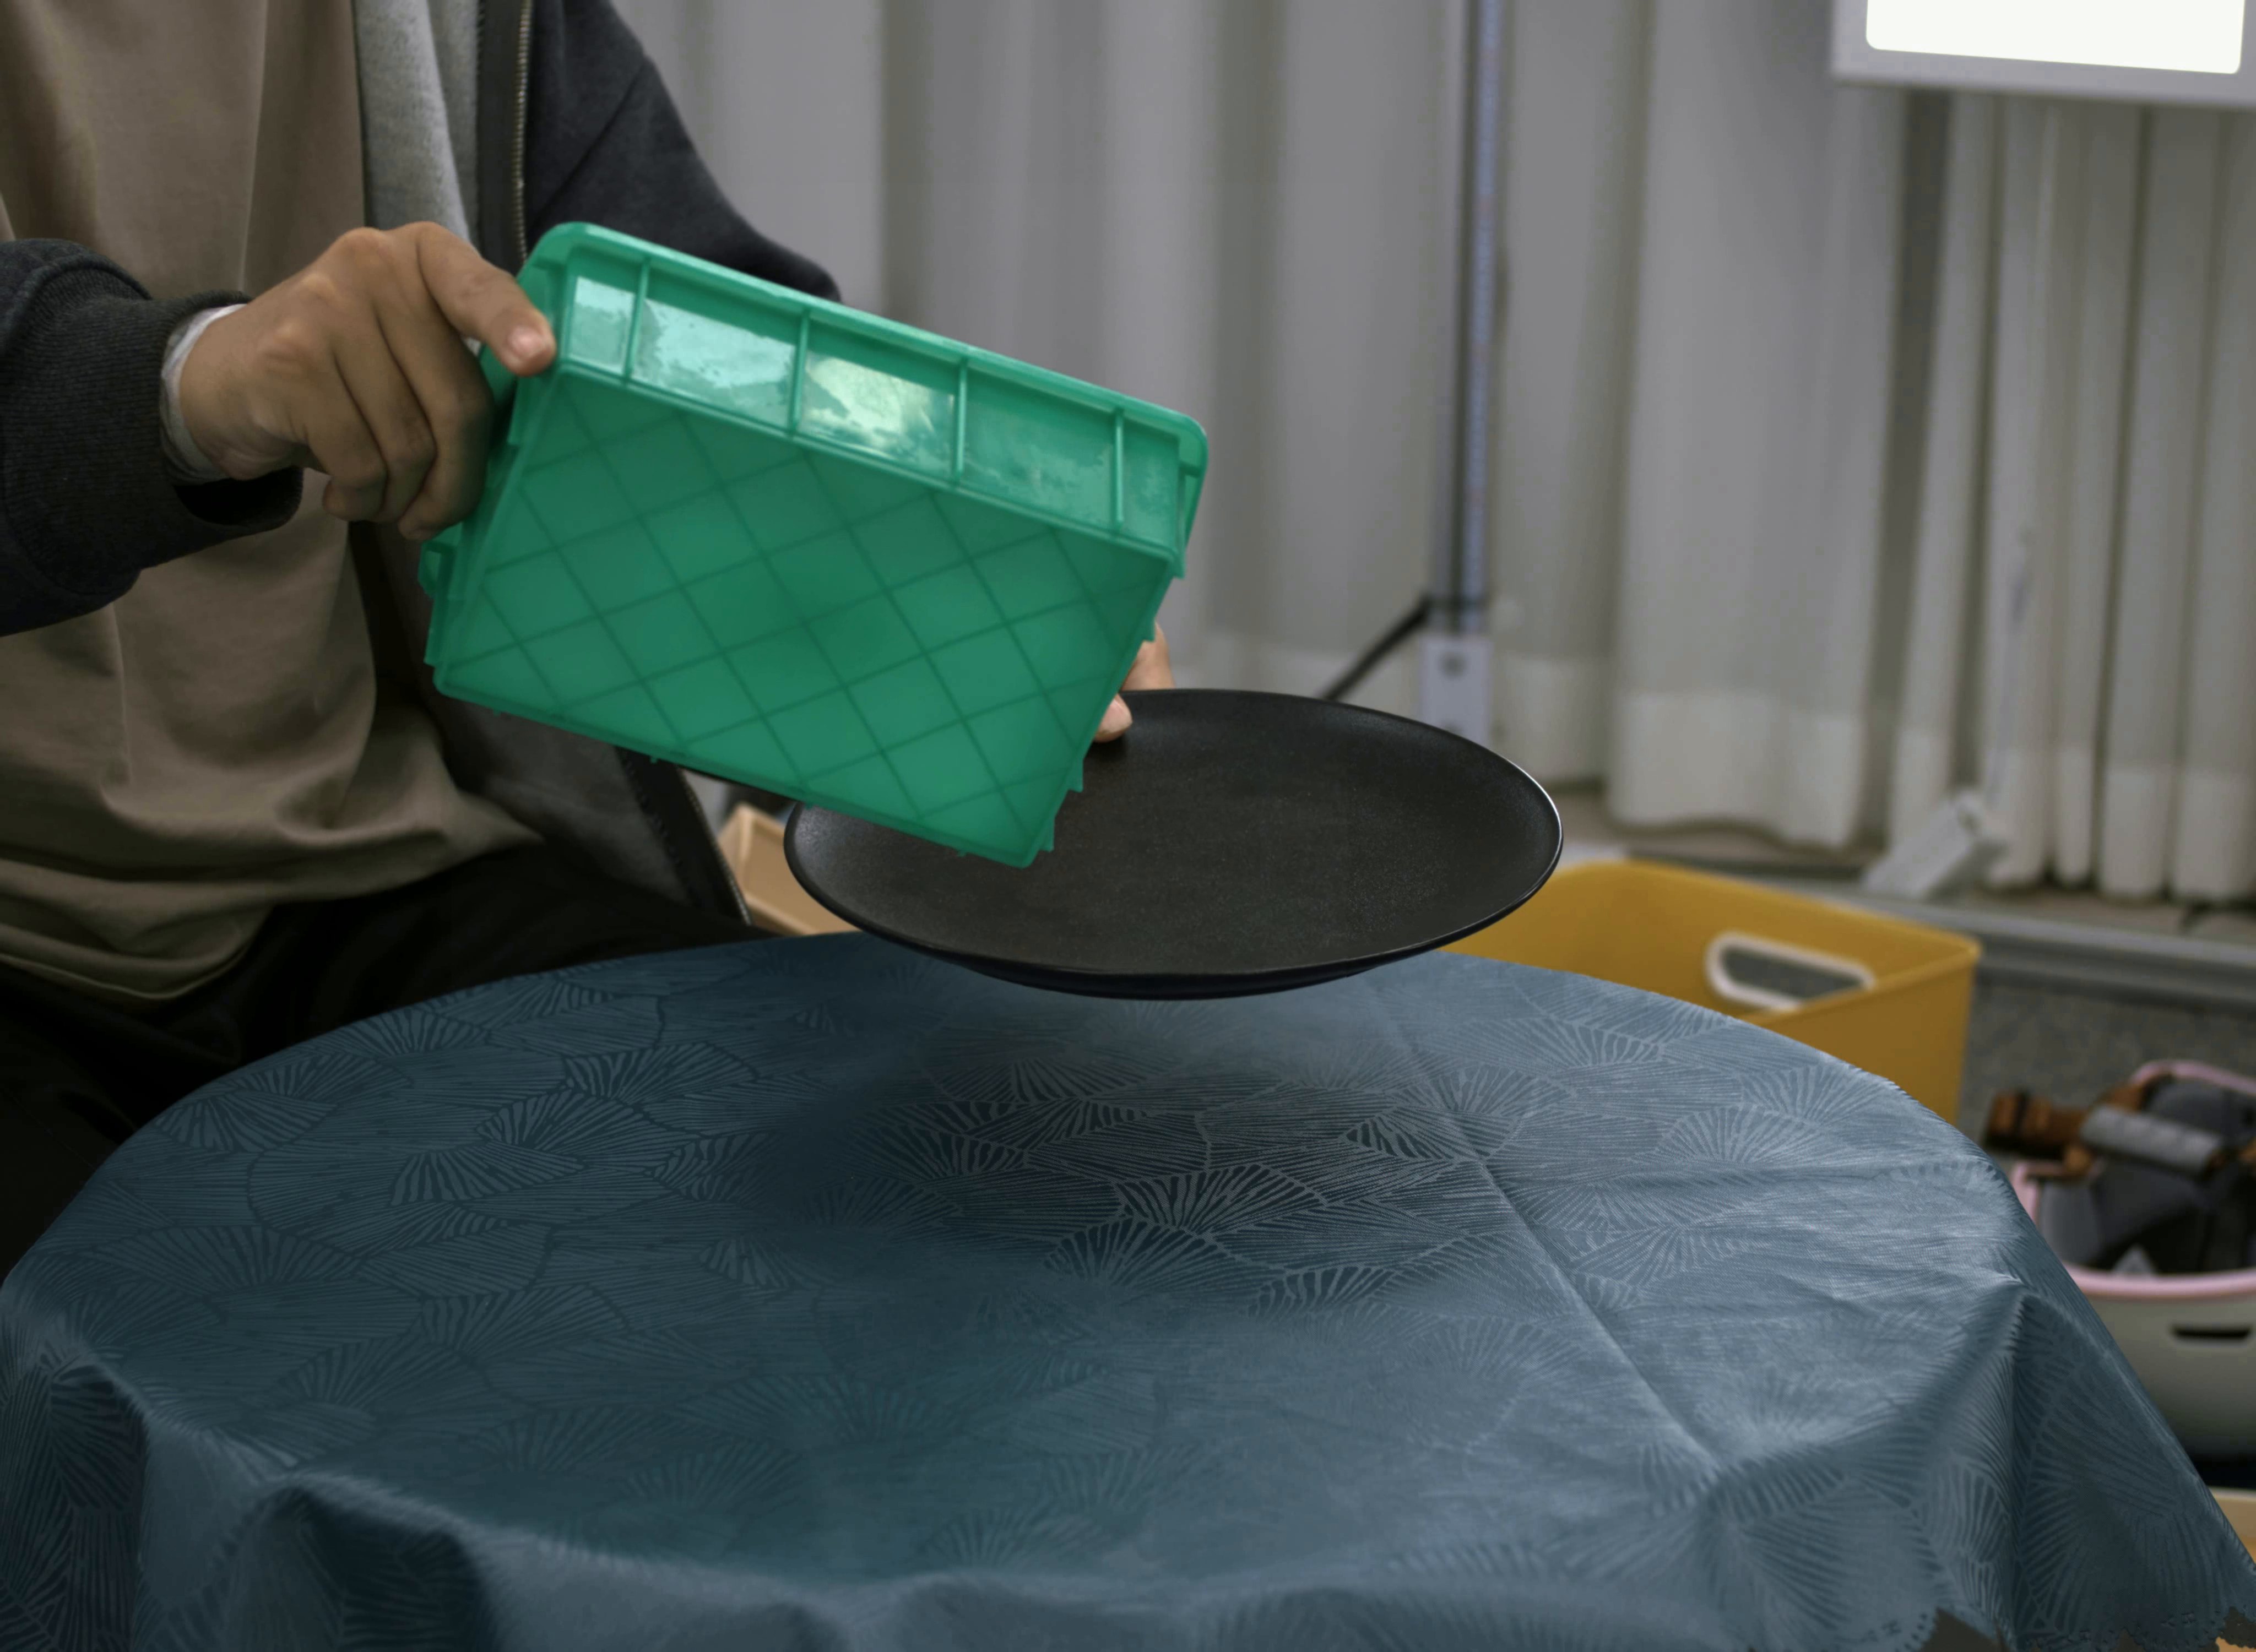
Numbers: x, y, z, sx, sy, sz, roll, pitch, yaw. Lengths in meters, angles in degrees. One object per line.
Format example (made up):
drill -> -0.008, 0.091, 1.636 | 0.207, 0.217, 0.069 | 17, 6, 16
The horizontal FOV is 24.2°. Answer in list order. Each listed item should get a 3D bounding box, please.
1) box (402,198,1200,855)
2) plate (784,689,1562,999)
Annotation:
box -> -0.093, -0.077, 1.472 | 0.211, 0.139, 0.064 | 17, 35, -16
plate -> 0.014, 0.008, 1.649 | 0.243, 0.023, 0.243 | 0, 22, 1
